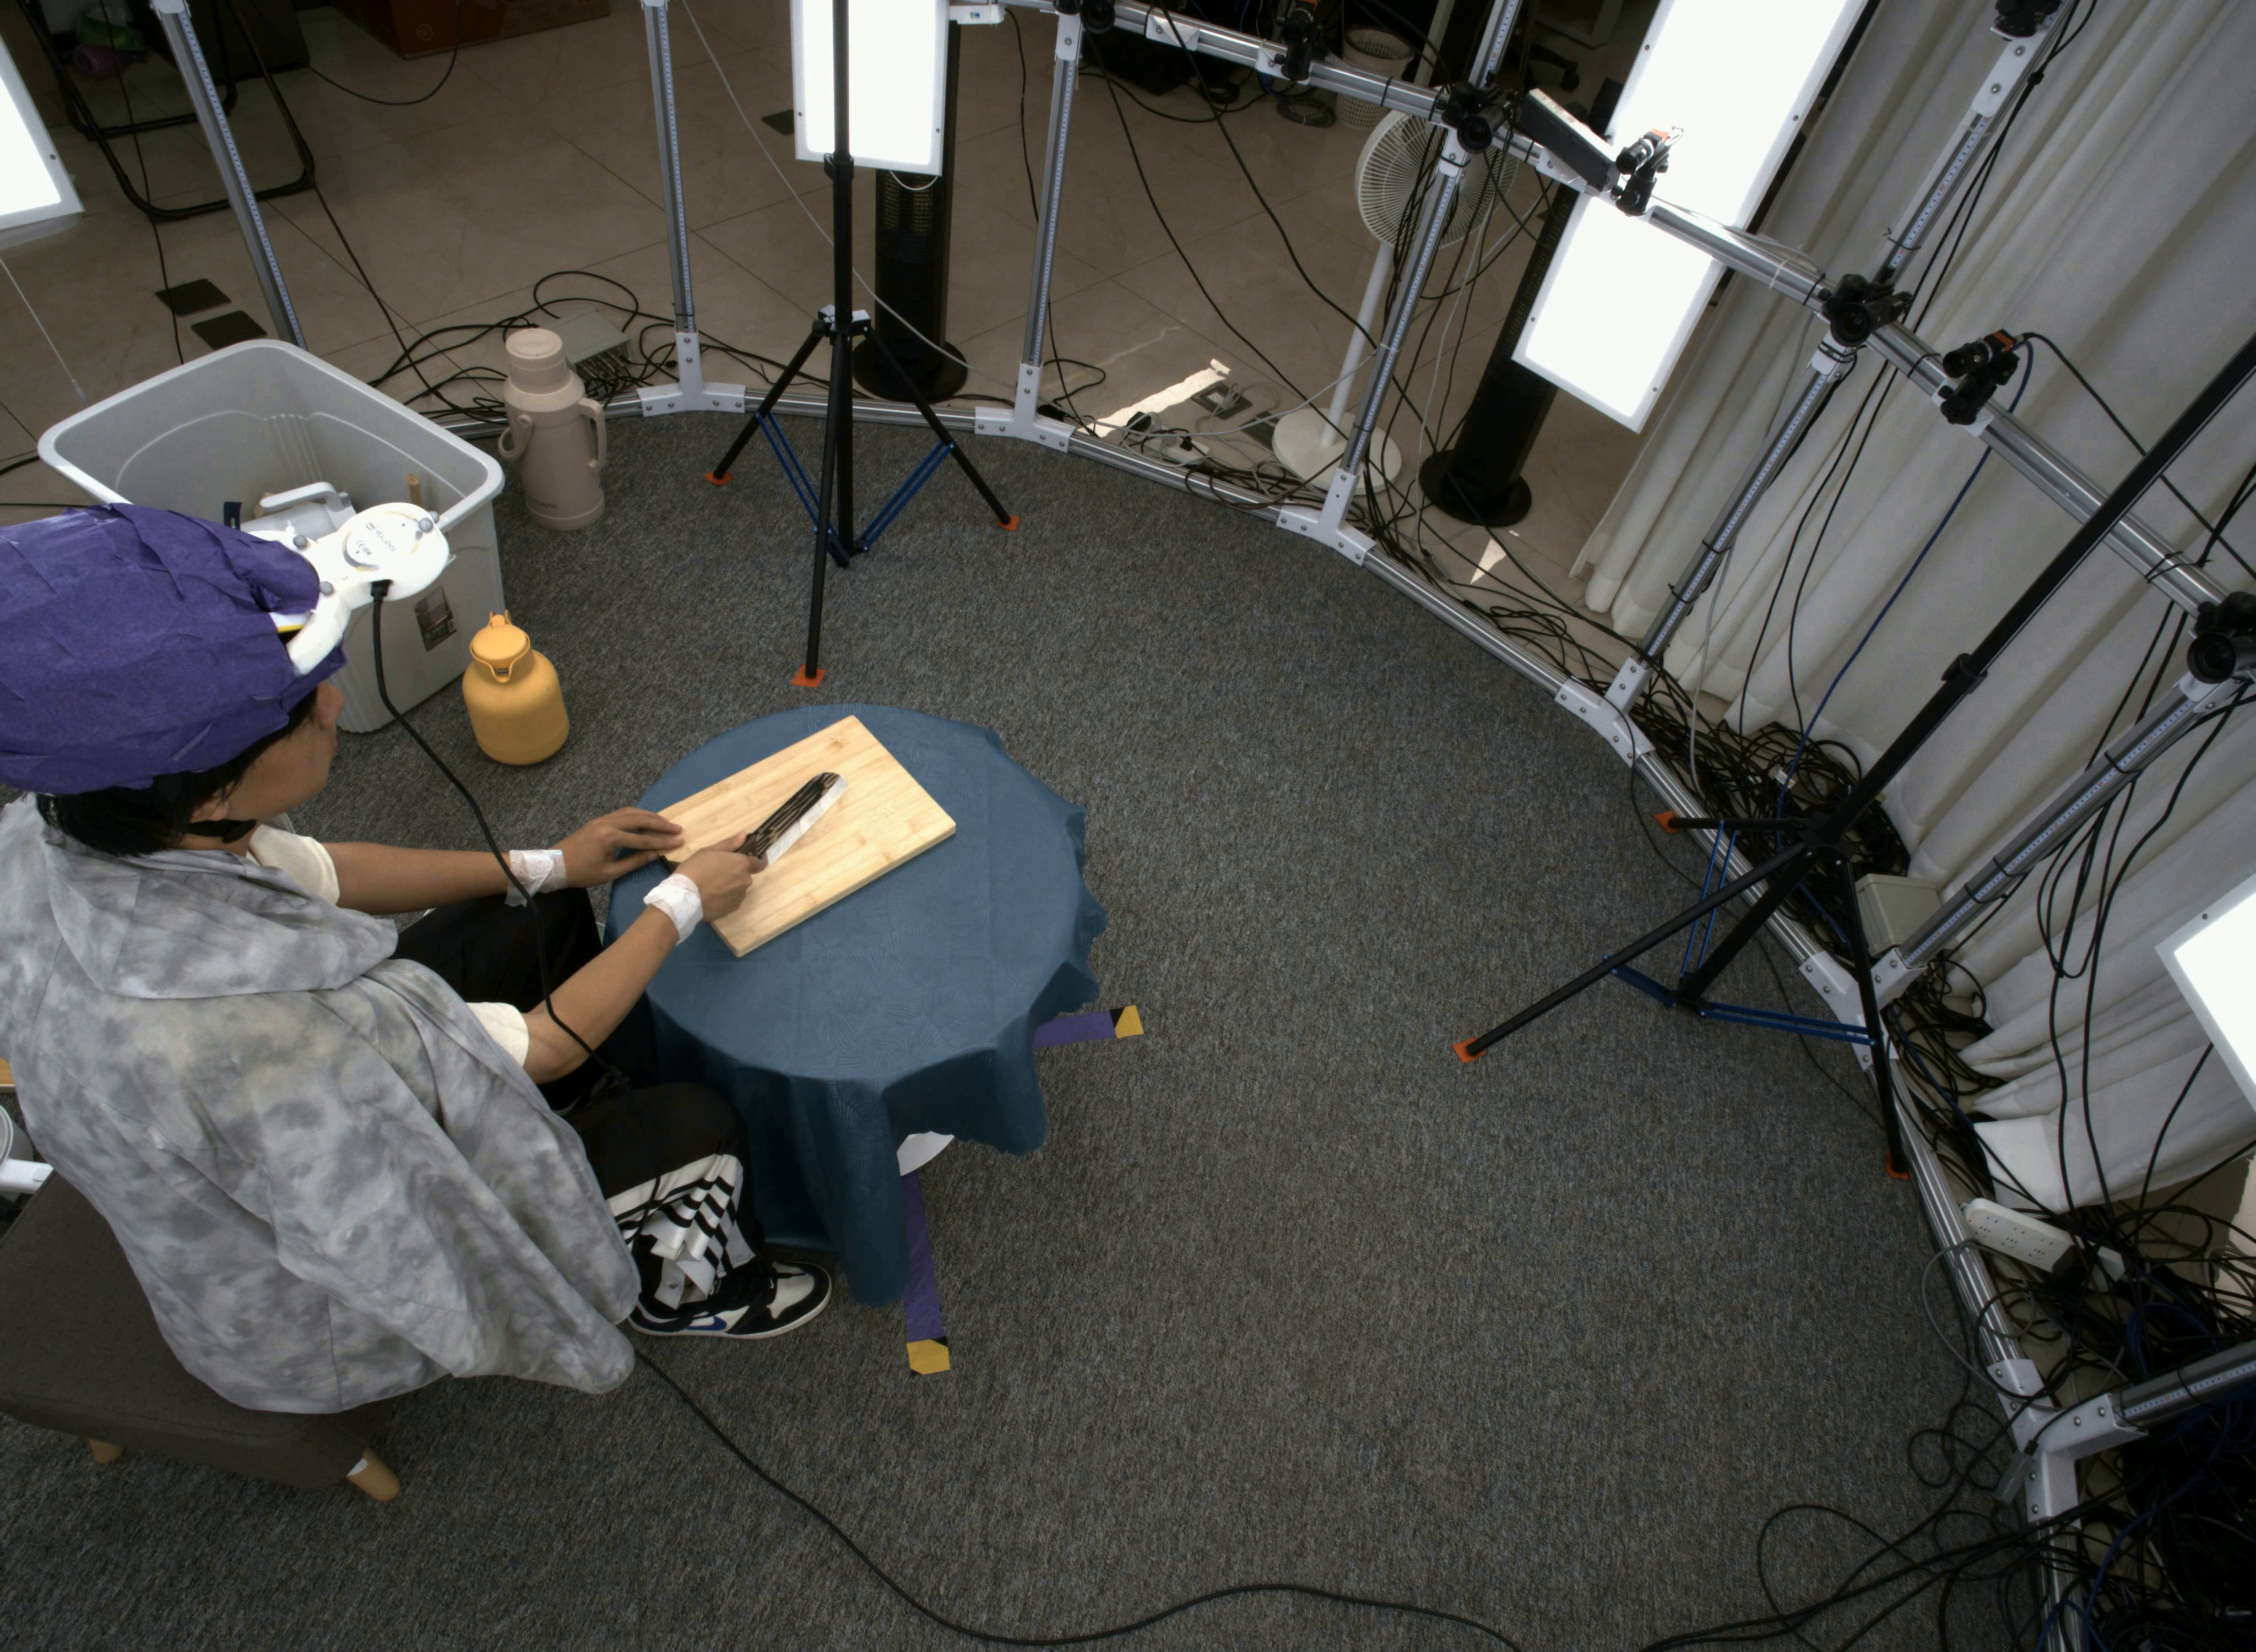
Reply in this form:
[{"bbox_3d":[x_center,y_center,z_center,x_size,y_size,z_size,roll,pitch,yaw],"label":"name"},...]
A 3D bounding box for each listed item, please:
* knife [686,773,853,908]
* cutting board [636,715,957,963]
[{"bbox_3d":[-0.445,0.018,1.637,0.023,0.070,0.298,21,47,22],"label":"knife"},{"bbox_3d":[-0.431,0.006,1.710,0.349,0.024,0.245,-34,67,-32],"label":"cutting board"}]
